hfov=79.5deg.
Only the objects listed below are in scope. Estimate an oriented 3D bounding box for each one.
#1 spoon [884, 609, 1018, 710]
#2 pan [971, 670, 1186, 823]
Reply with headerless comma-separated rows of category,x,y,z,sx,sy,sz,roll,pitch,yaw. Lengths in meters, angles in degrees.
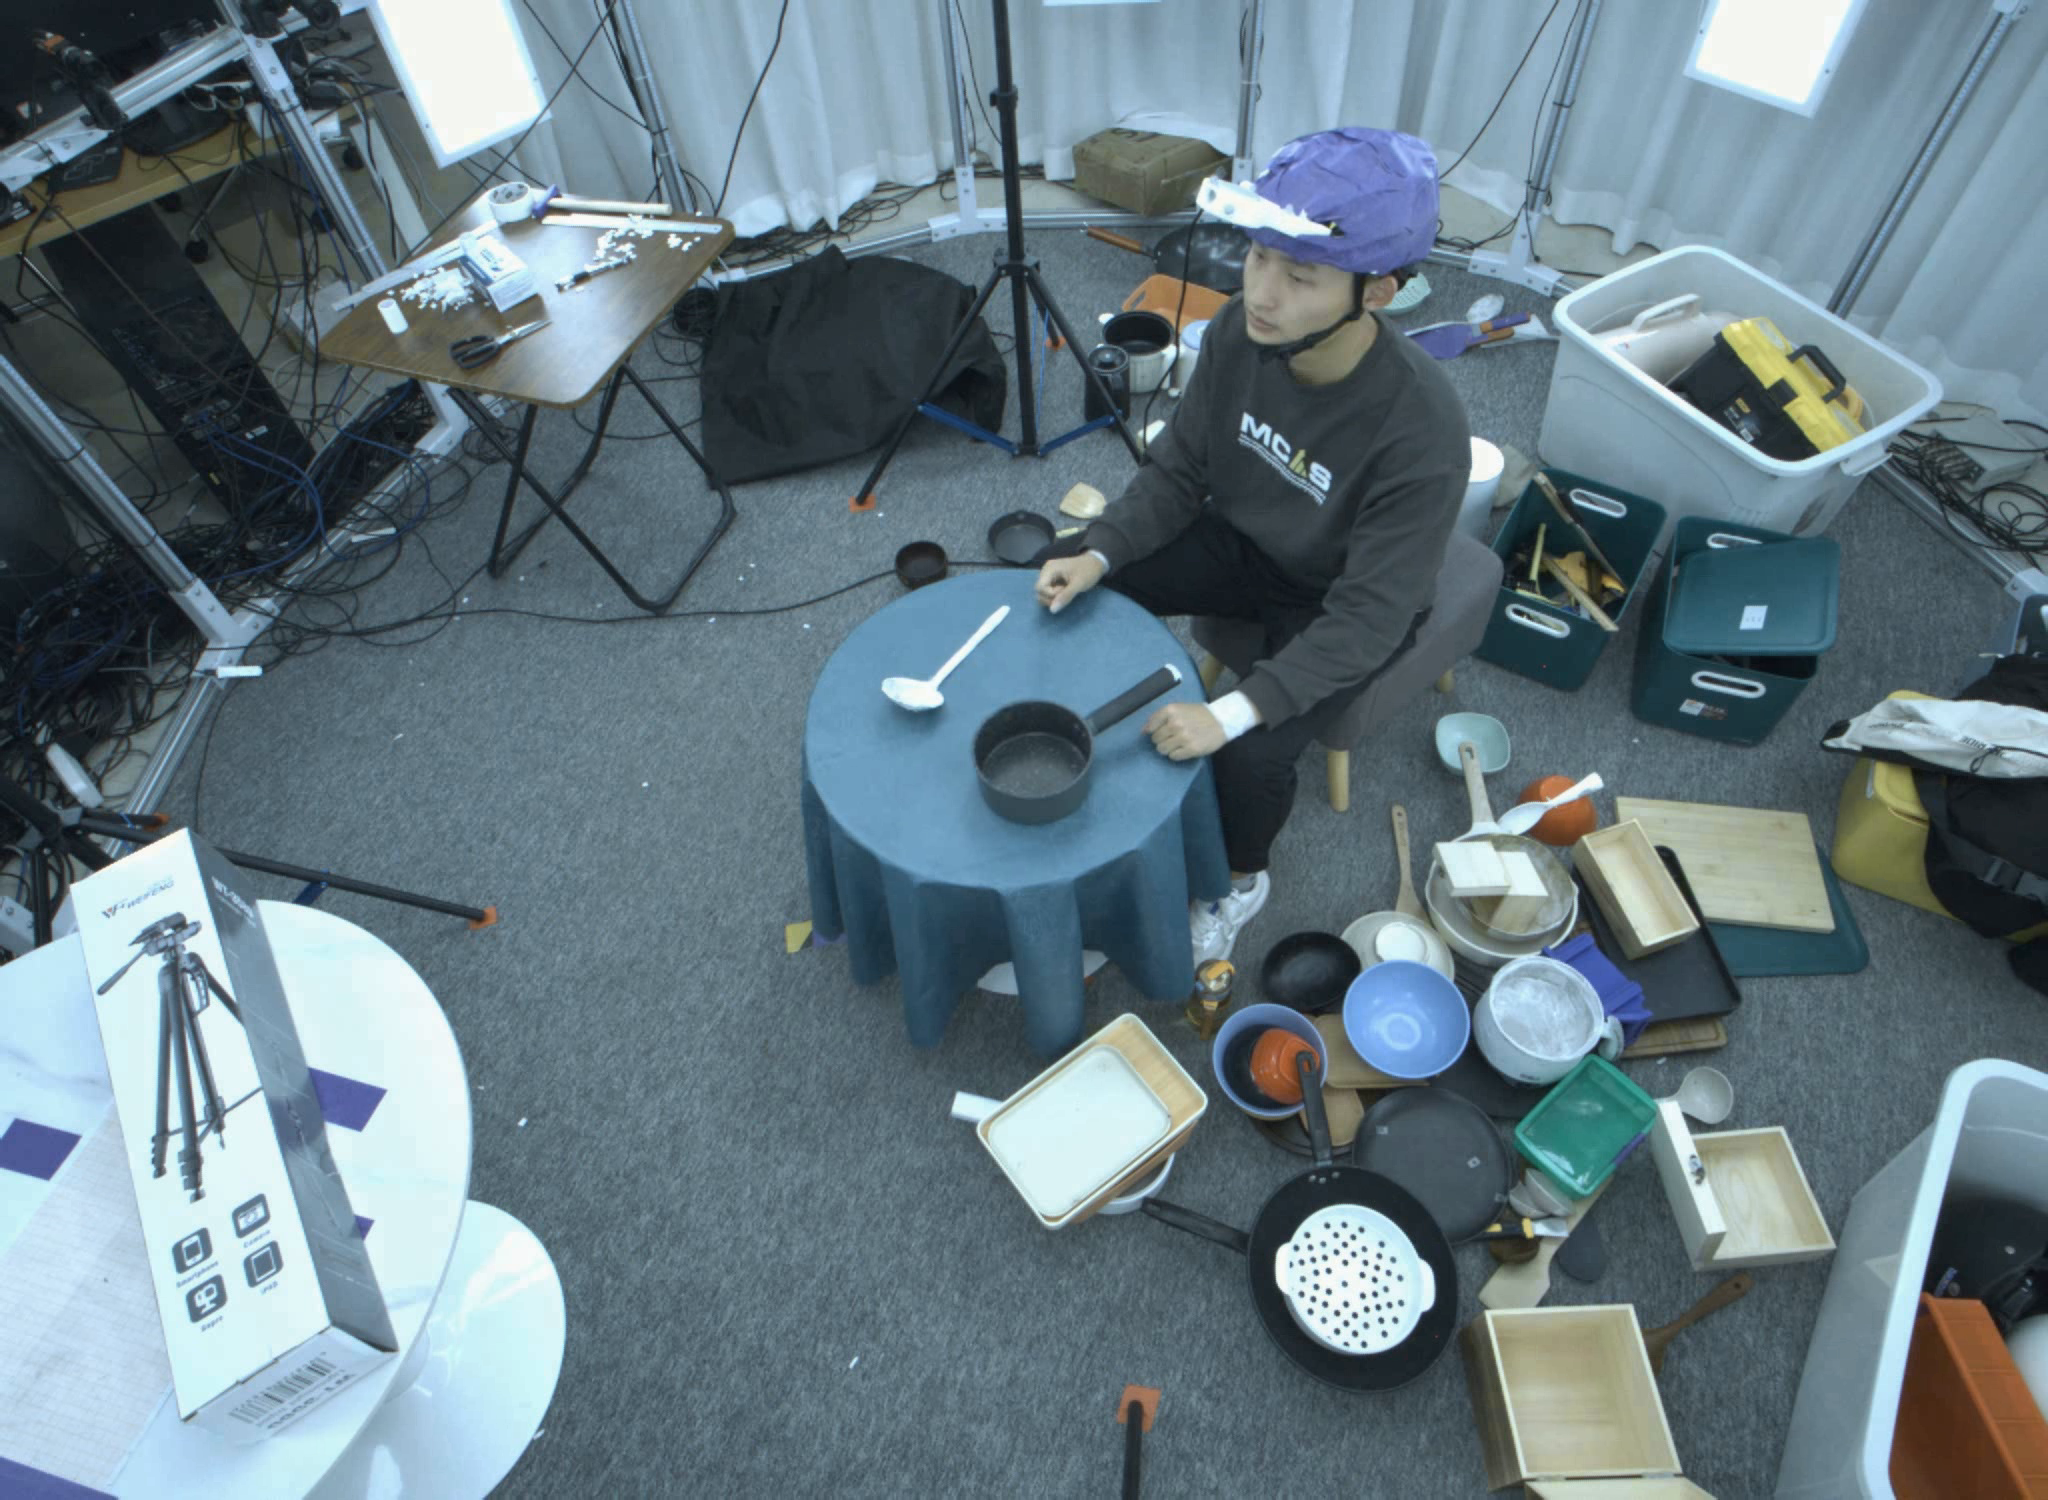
spoon,-0.098,-0.147,1.870,0.099,0.060,0.279,34,62,21
pan,0.083,-0.017,1.753,0.331,0.087,0.169,-25,59,-15
